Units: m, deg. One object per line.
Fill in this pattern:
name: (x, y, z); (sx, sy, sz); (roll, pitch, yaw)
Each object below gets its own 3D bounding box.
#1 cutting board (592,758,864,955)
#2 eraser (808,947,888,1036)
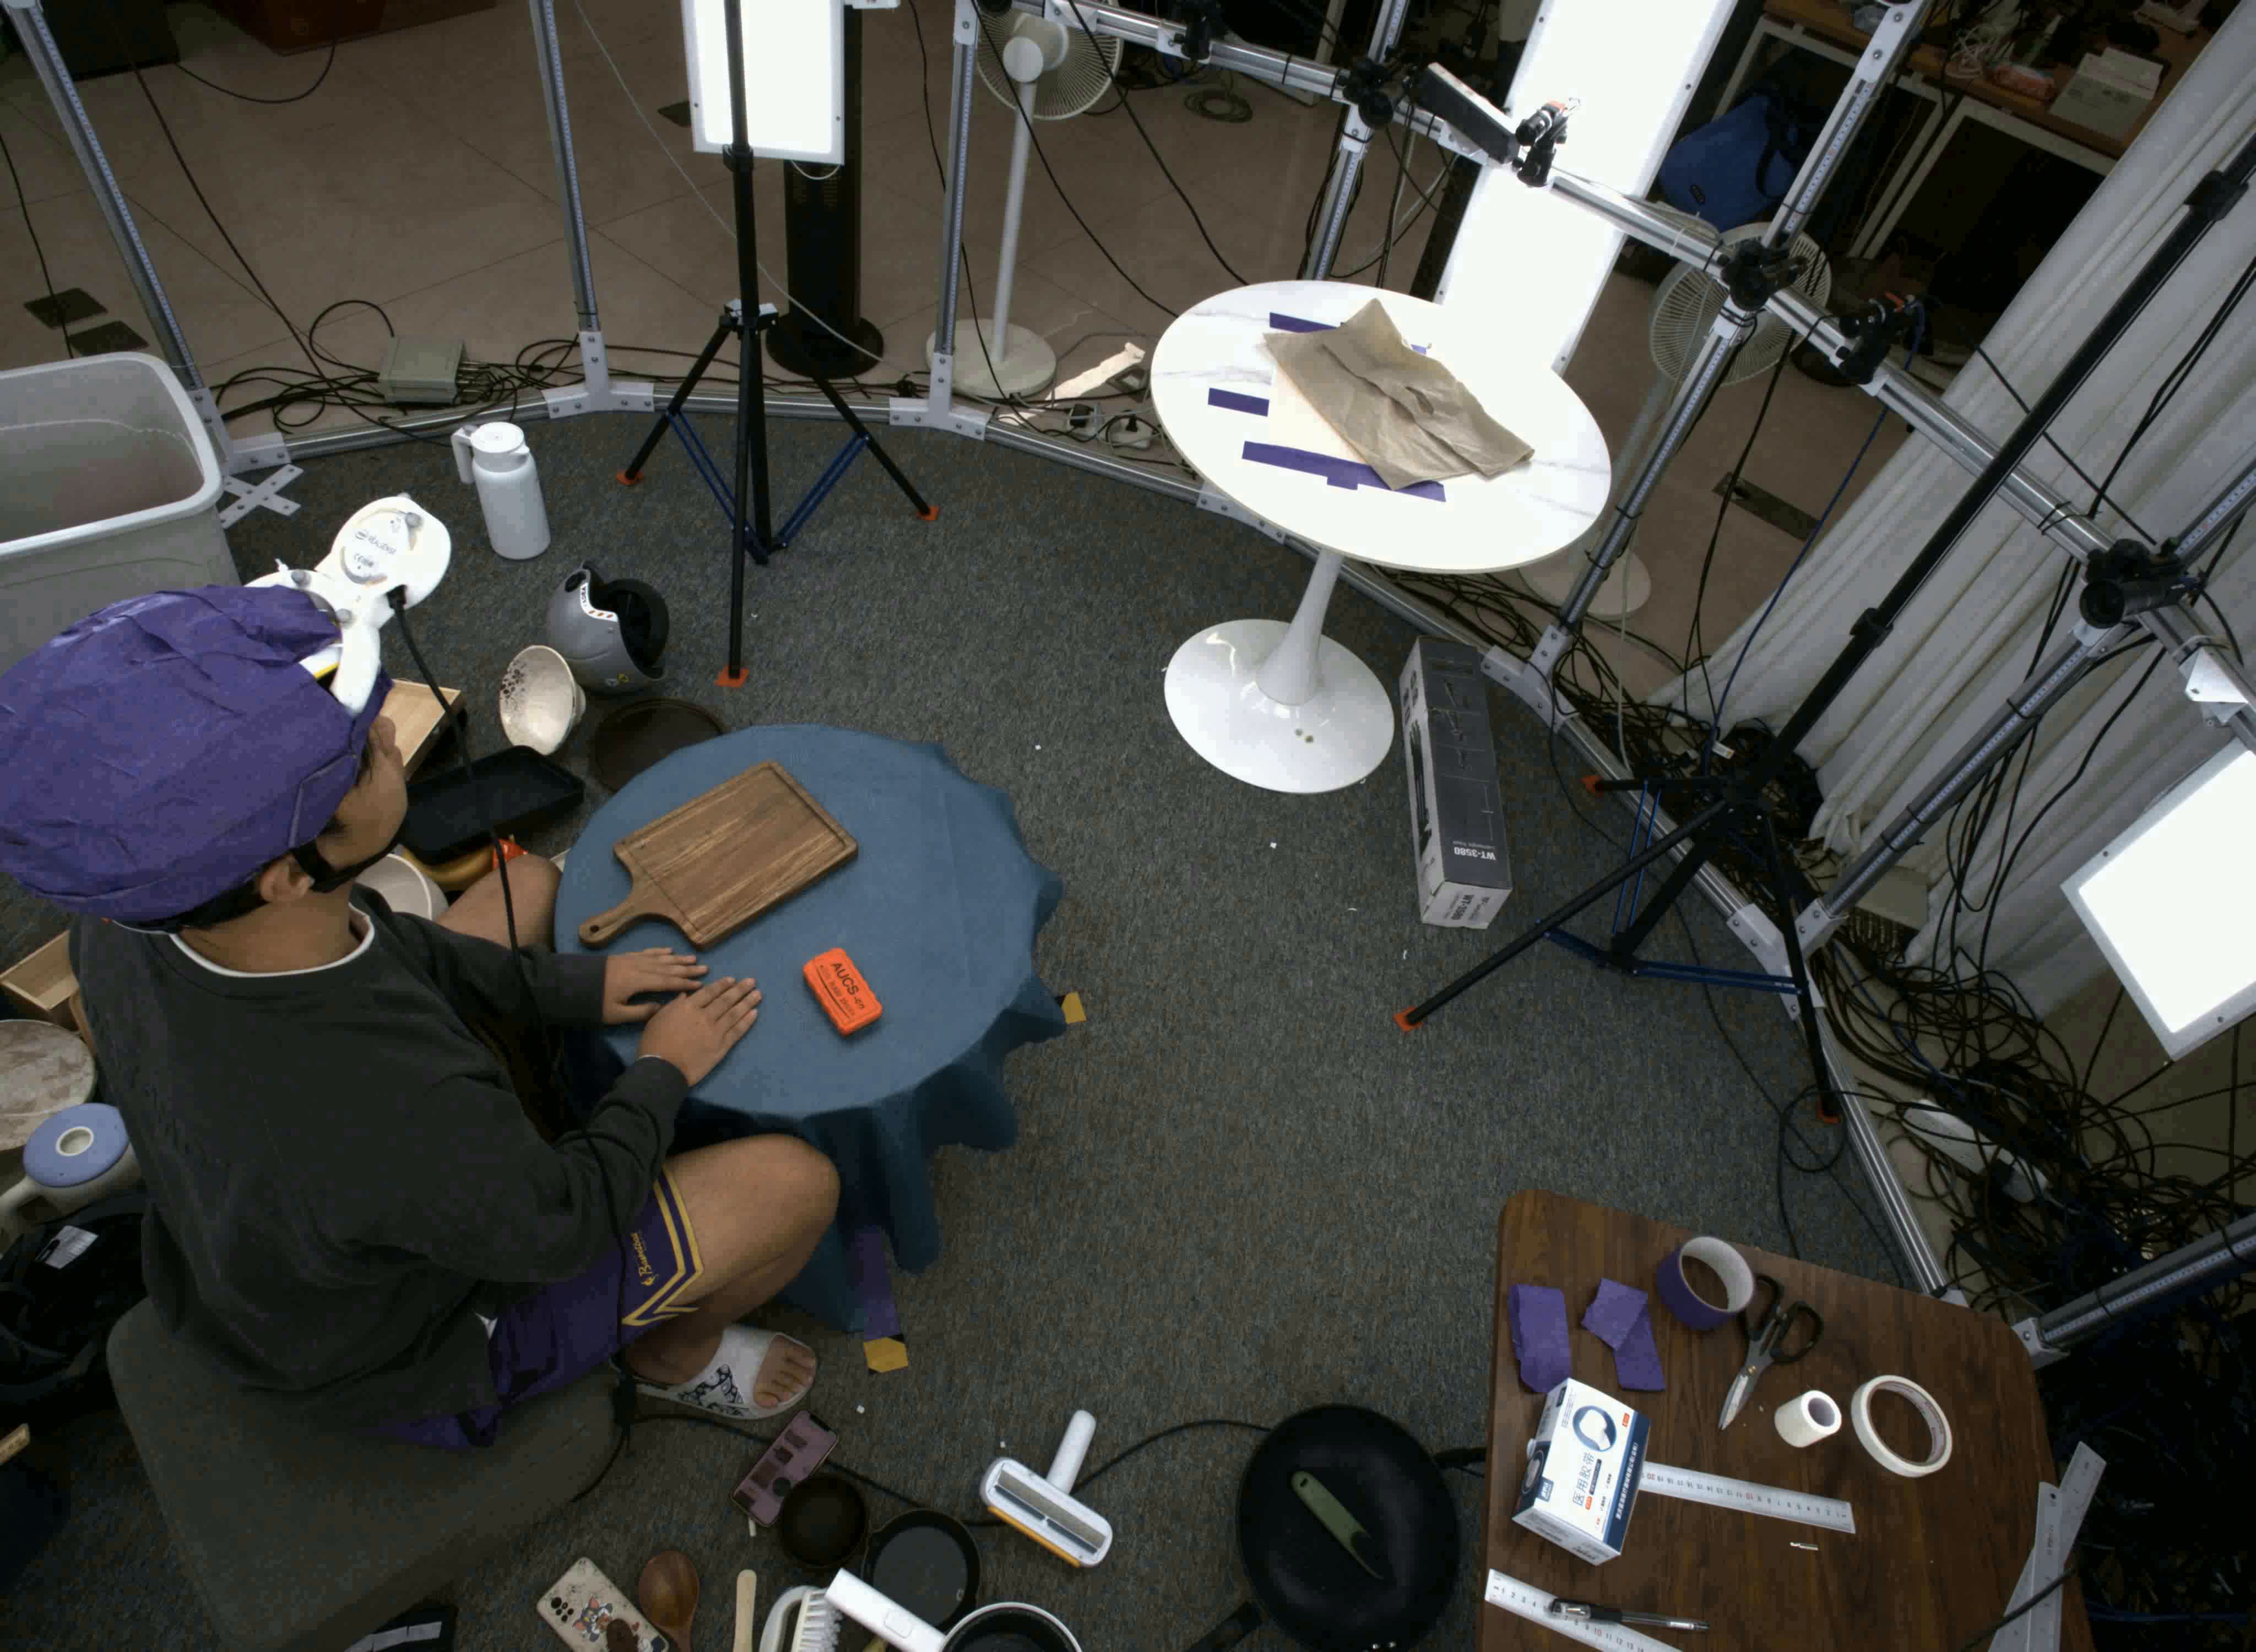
cutting board: (-0.533, 0.054, 1.647); (0.196, 0.023, 0.353); (43, 56, 17)
eraser: (-0.342, 0.198, 1.583); (0.059, 0.023, 0.105); (-26, 65, -30)
